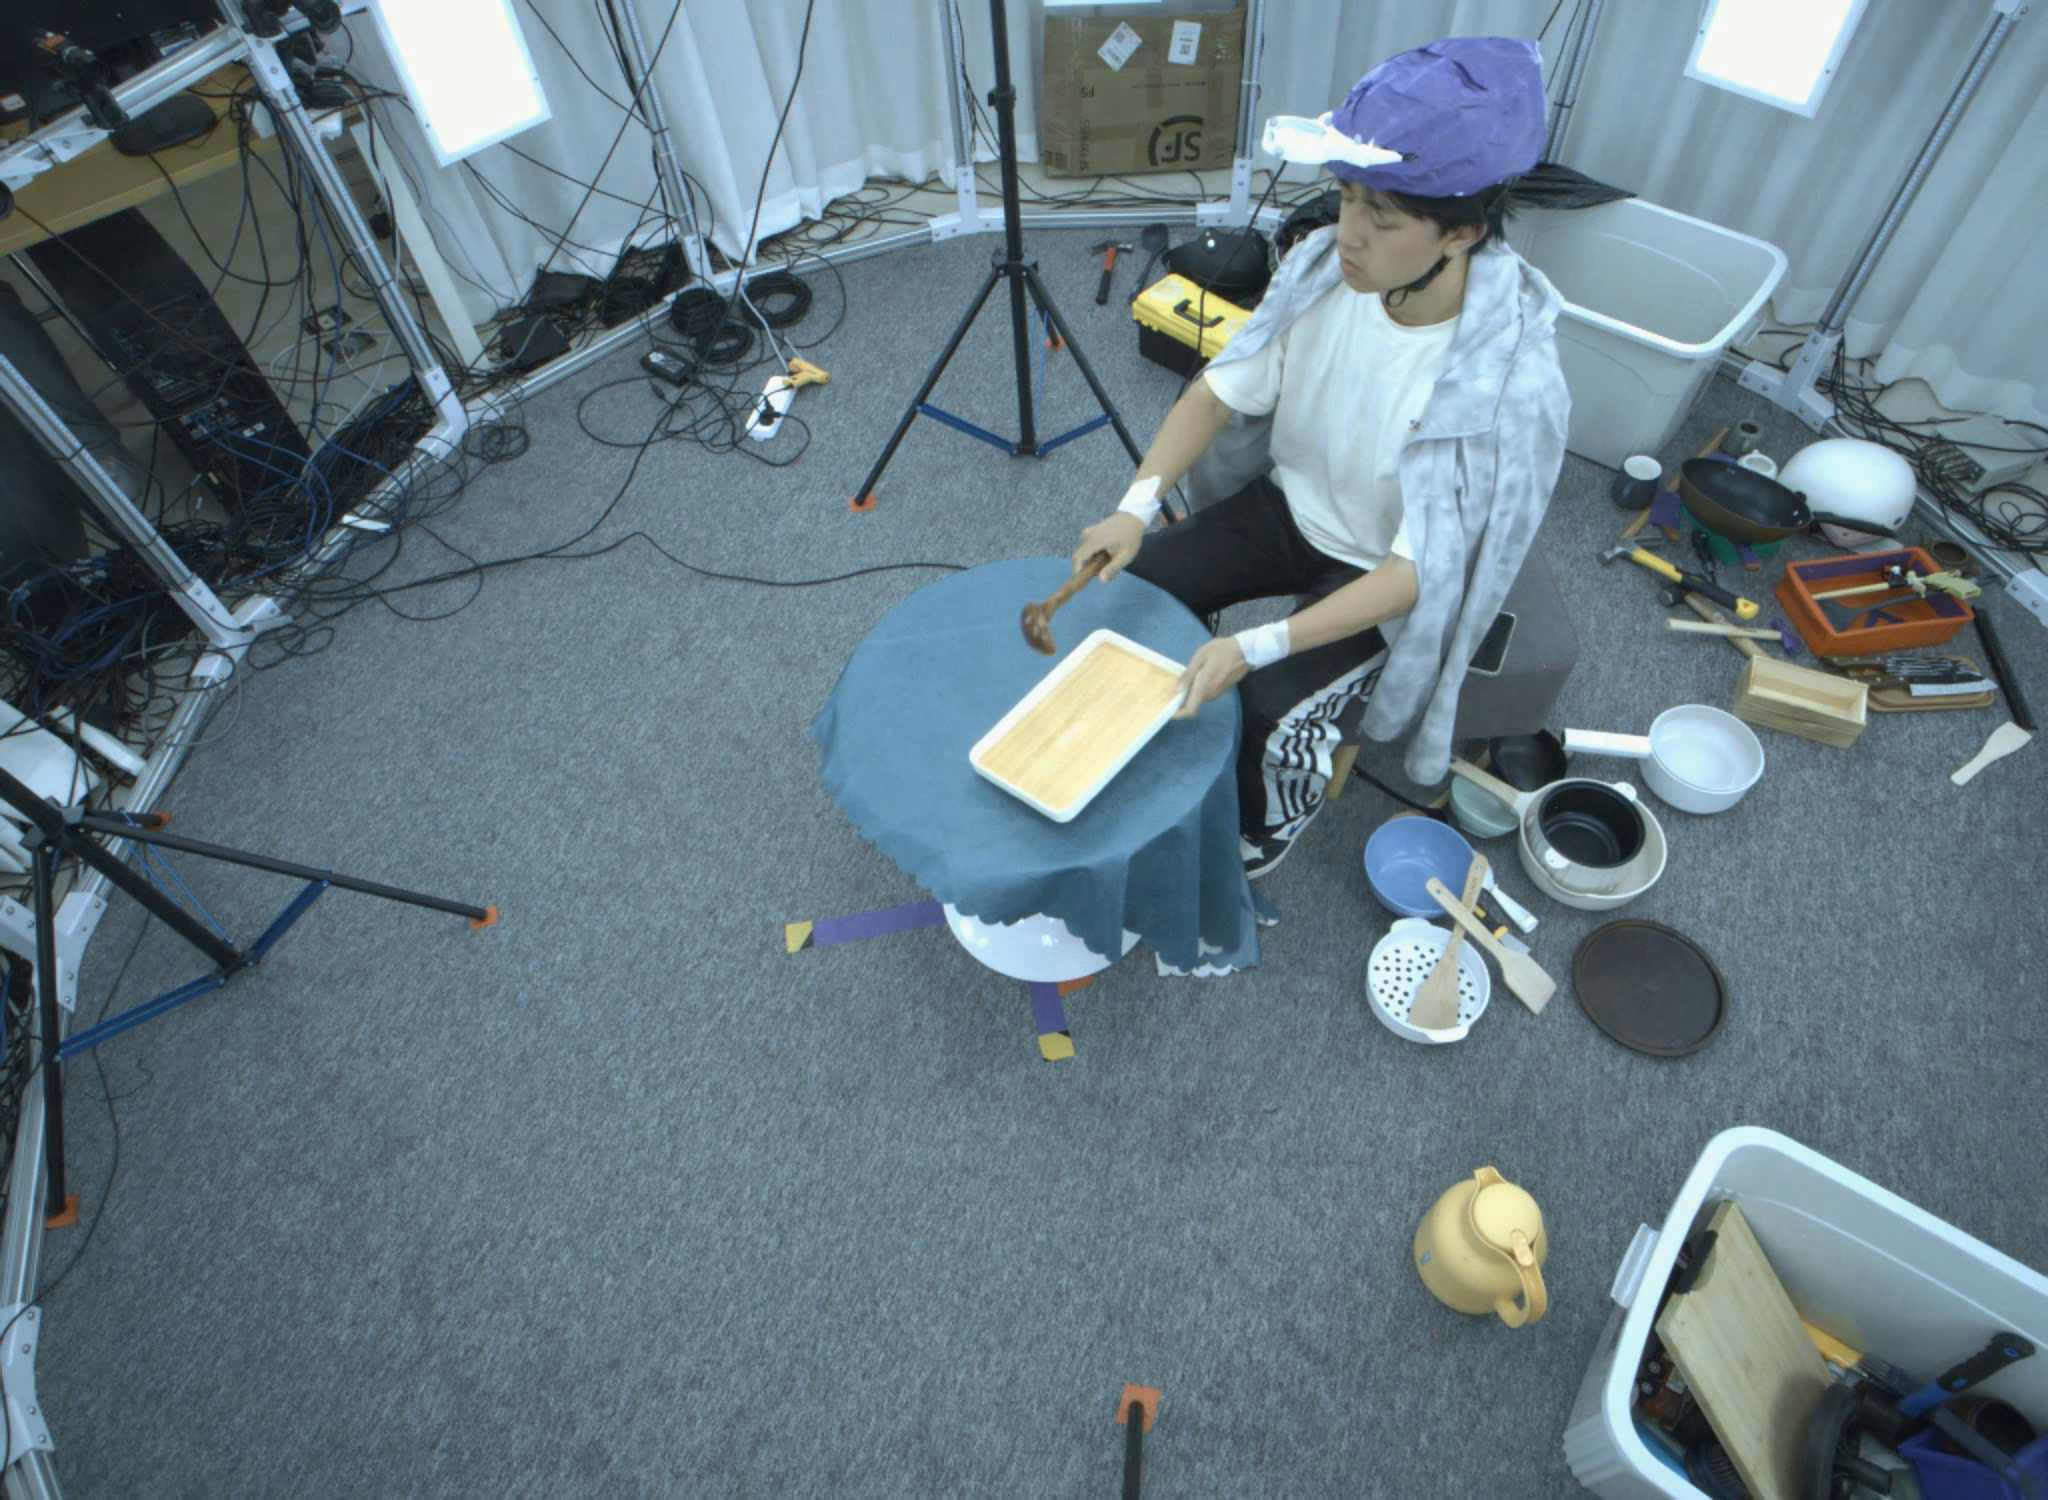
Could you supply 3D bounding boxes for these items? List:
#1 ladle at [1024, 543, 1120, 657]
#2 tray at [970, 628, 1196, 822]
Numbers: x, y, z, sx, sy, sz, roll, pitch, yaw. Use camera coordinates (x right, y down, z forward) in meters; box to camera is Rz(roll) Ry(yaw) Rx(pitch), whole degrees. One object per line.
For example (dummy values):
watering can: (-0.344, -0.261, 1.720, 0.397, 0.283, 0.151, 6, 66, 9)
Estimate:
ladle: (0.086, -0.228, 1.769, 0.075, 0.083, 0.276, 14, 43, 36)
tray: (0.085, -0.042, 1.749, 0.187, 0.028, 0.302, 31, 65, 33)
